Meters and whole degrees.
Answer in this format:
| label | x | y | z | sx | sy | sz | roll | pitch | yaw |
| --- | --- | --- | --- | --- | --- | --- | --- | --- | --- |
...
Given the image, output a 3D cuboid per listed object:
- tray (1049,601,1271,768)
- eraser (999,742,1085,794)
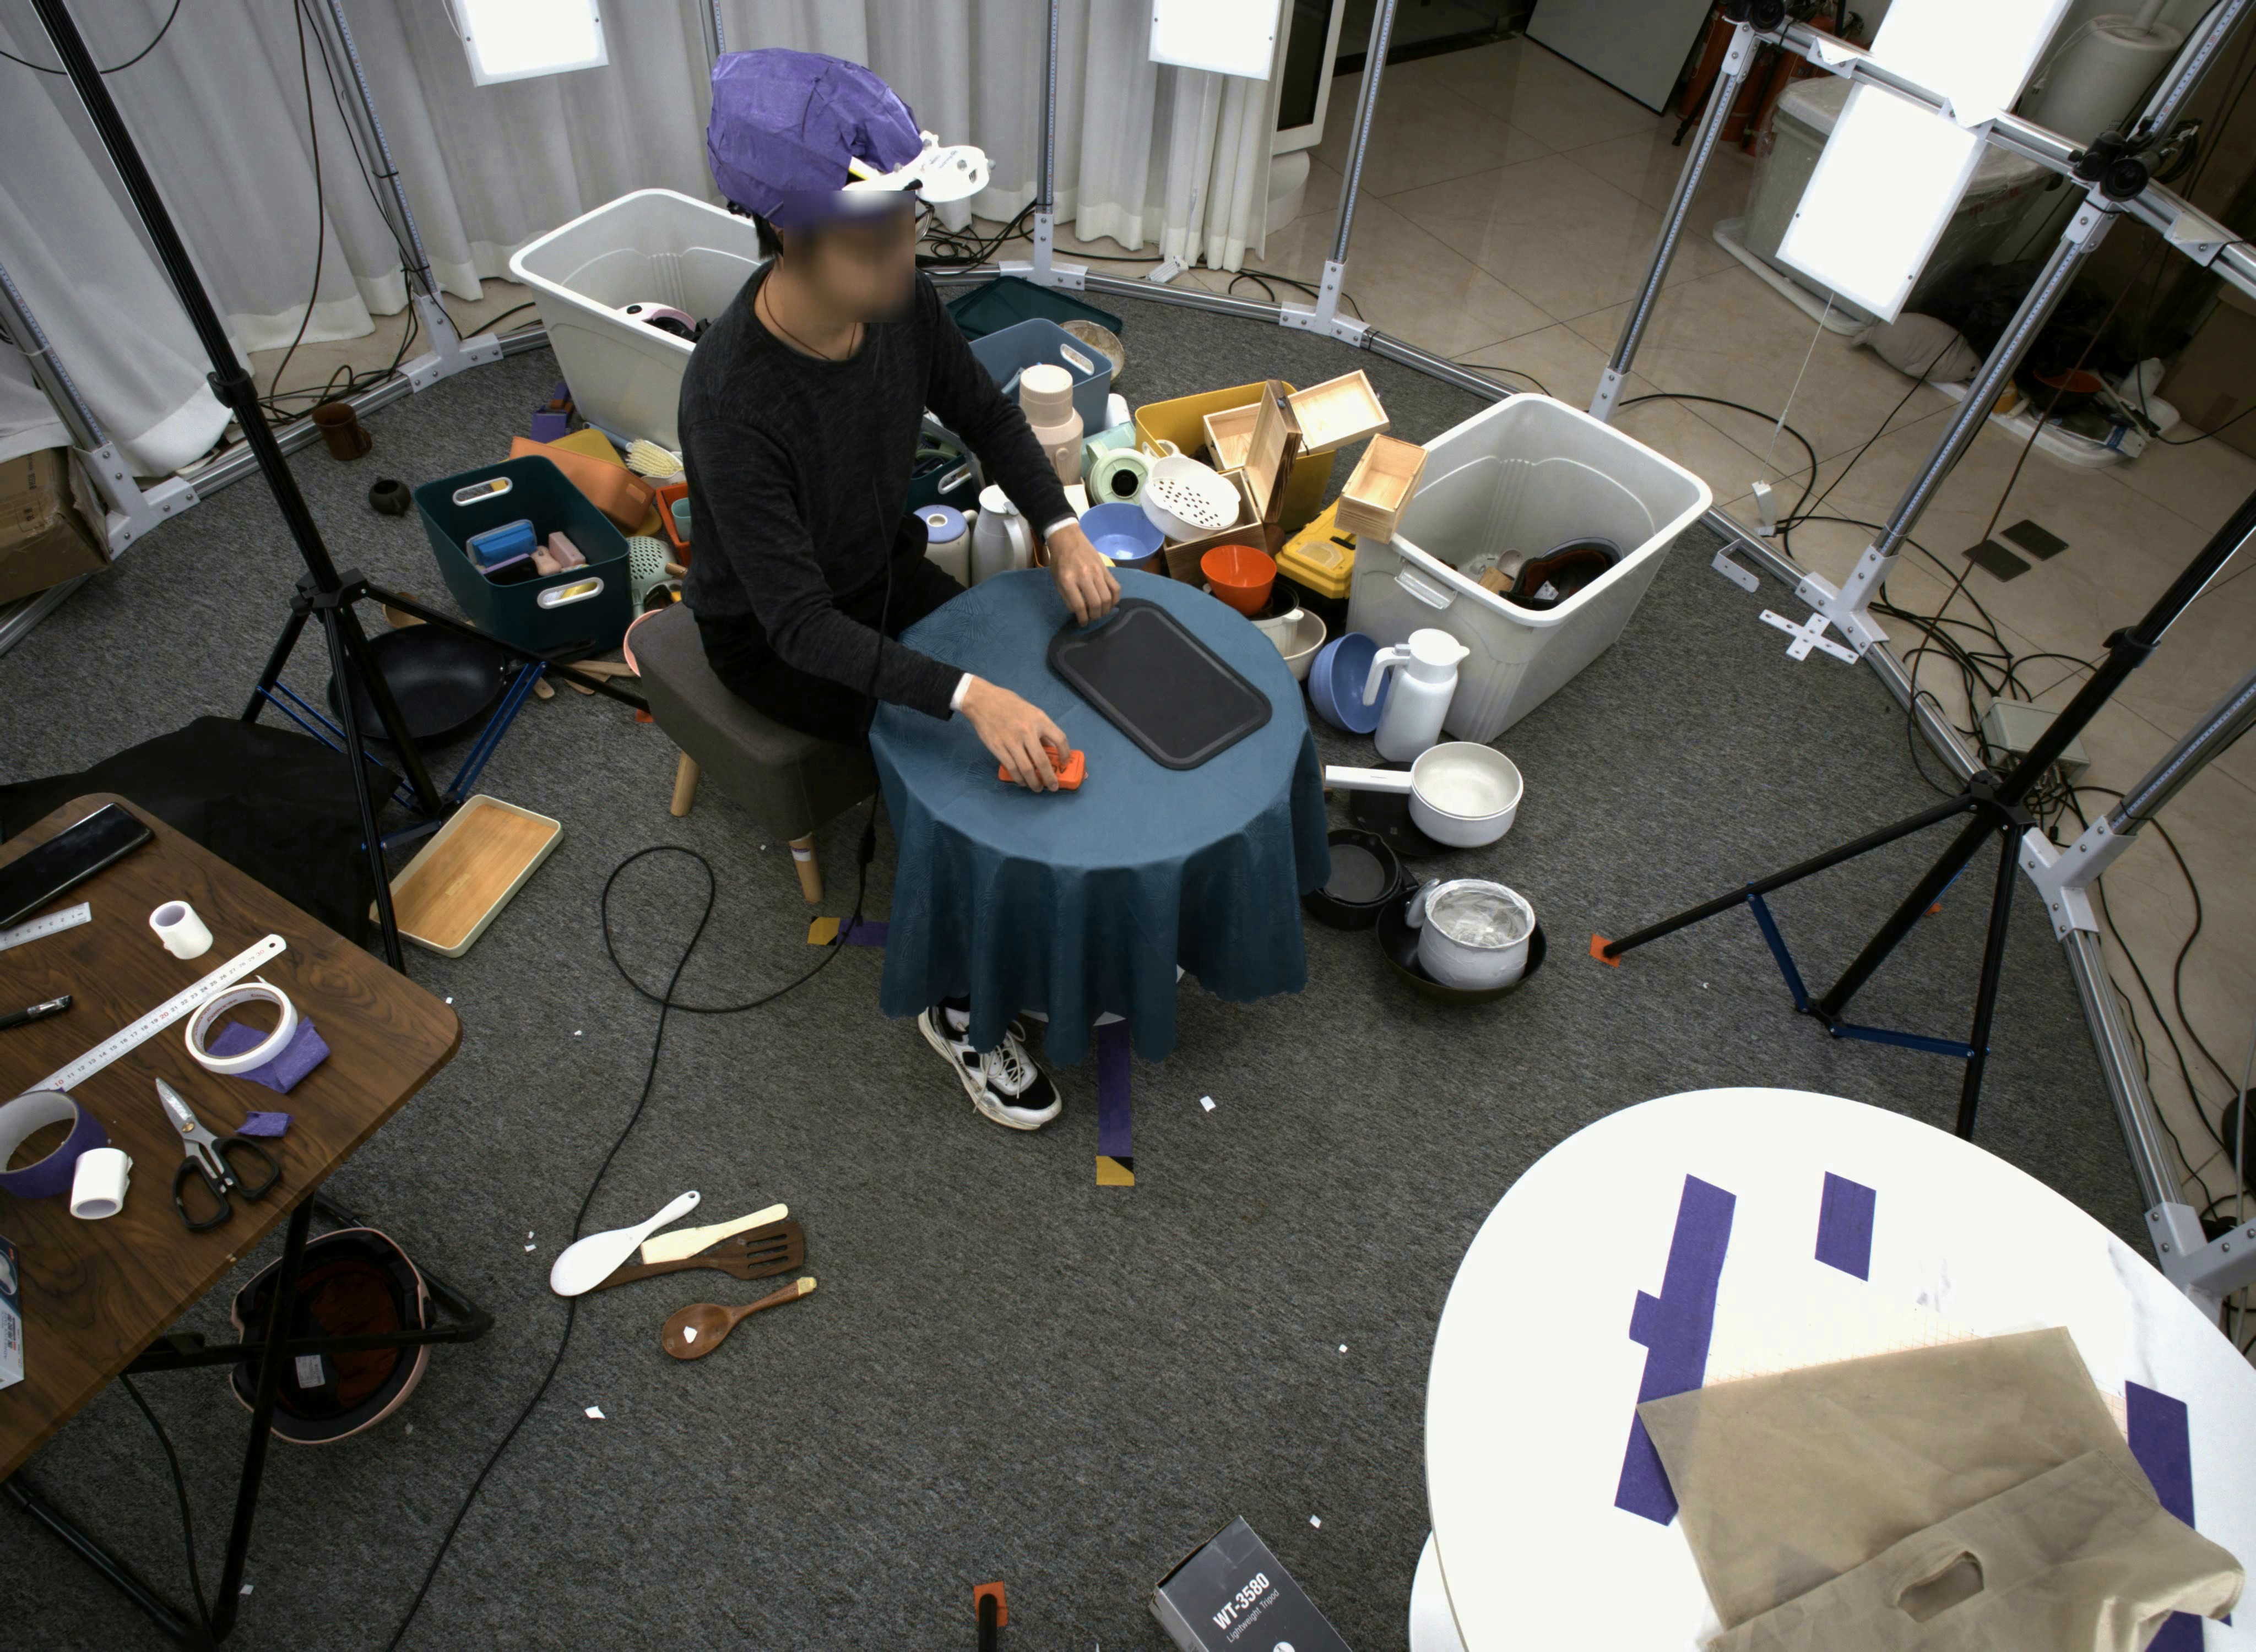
| label | x | y | z | sx | sy | sz | roll | pitch | yaw |
| --- | --- | --- | --- | --- | --- | --- | --- | --- | --- |
| tray | 0.038 | -0.215 | 1.849 | 0.212 | 0.009 | 0.331 | -31 | 59 | -27 |
| eraser | -0.115 | -0.078 | 1.712 | 0.108 | 0.022 | 0.060 | 9 | 49 | 4 |
